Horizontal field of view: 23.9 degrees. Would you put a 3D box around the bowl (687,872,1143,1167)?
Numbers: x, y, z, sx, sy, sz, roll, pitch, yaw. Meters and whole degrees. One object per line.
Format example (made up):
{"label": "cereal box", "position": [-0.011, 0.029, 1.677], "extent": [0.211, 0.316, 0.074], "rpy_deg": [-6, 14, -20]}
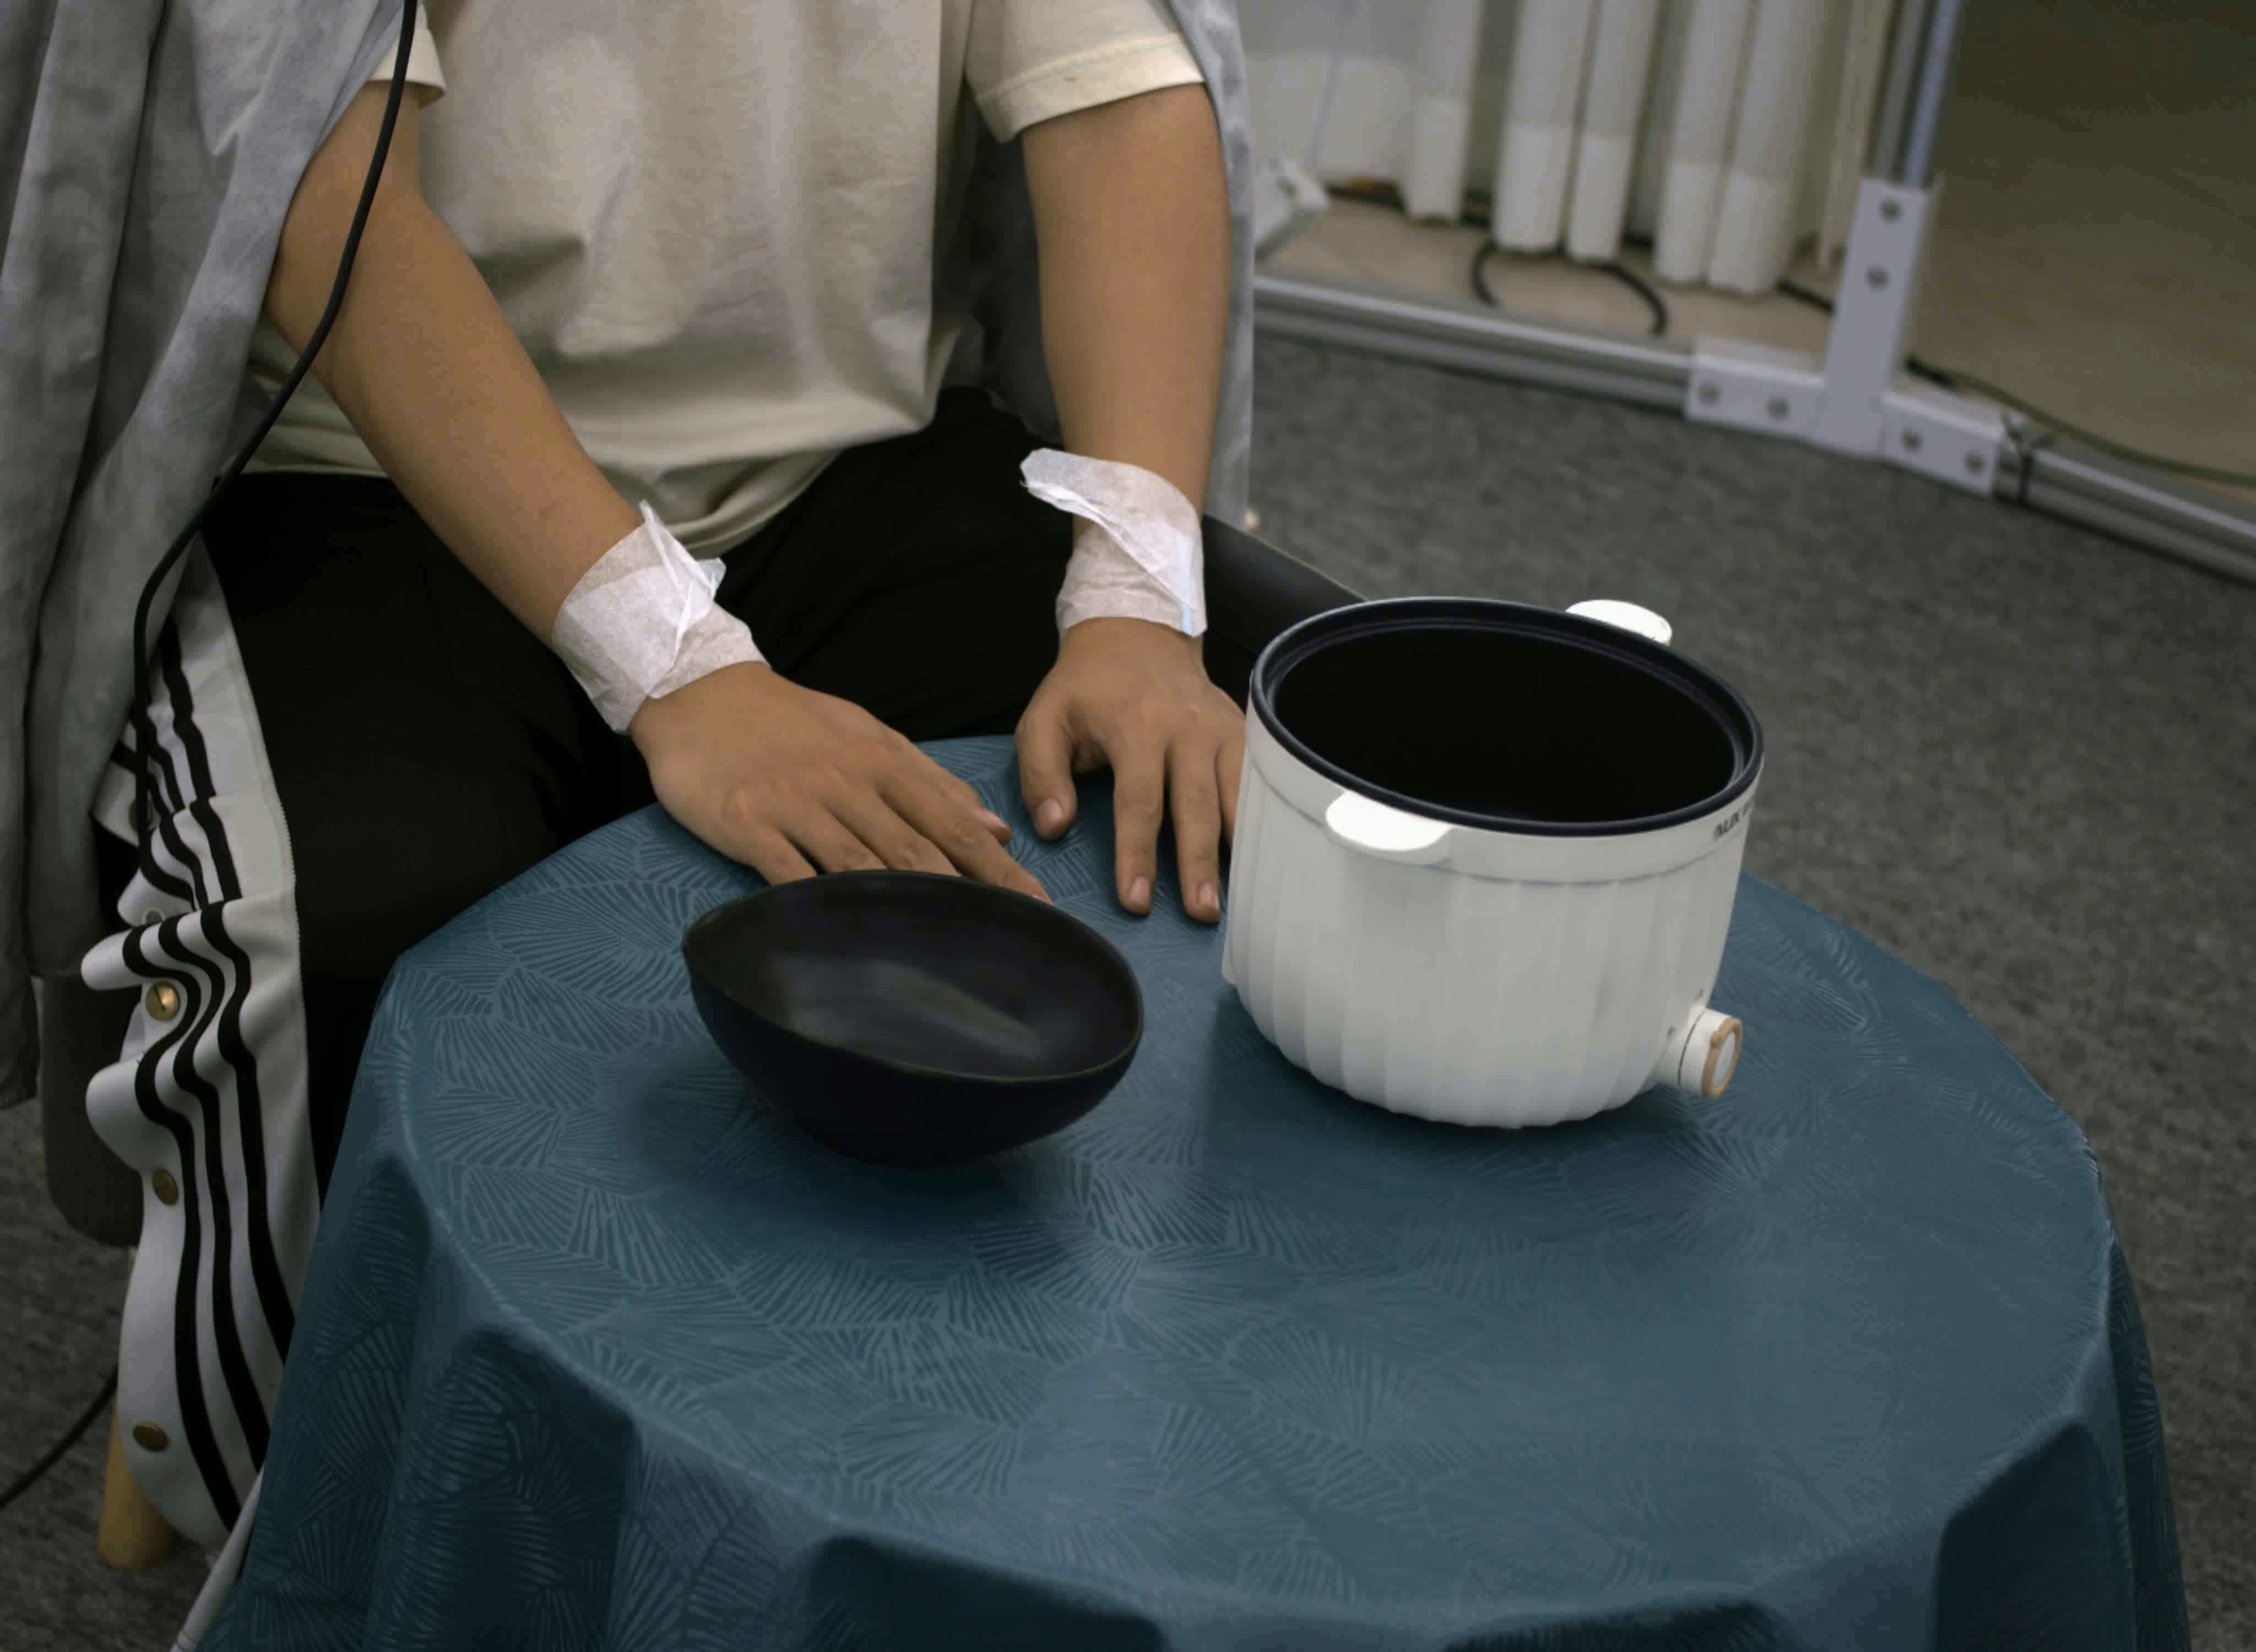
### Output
{"label": "bowl", "position": [-0.077, 0.074, 1.815], "extent": [0.171, 0.066, 0.137], "rpy_deg": [21, 29, 28]}

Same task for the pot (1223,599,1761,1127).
{"label": "pot", "position": [0.131, 0.018, 1.889], "extent": [0.191, 0.142, 0.240], "rpy_deg": [15, 28, 23]}
